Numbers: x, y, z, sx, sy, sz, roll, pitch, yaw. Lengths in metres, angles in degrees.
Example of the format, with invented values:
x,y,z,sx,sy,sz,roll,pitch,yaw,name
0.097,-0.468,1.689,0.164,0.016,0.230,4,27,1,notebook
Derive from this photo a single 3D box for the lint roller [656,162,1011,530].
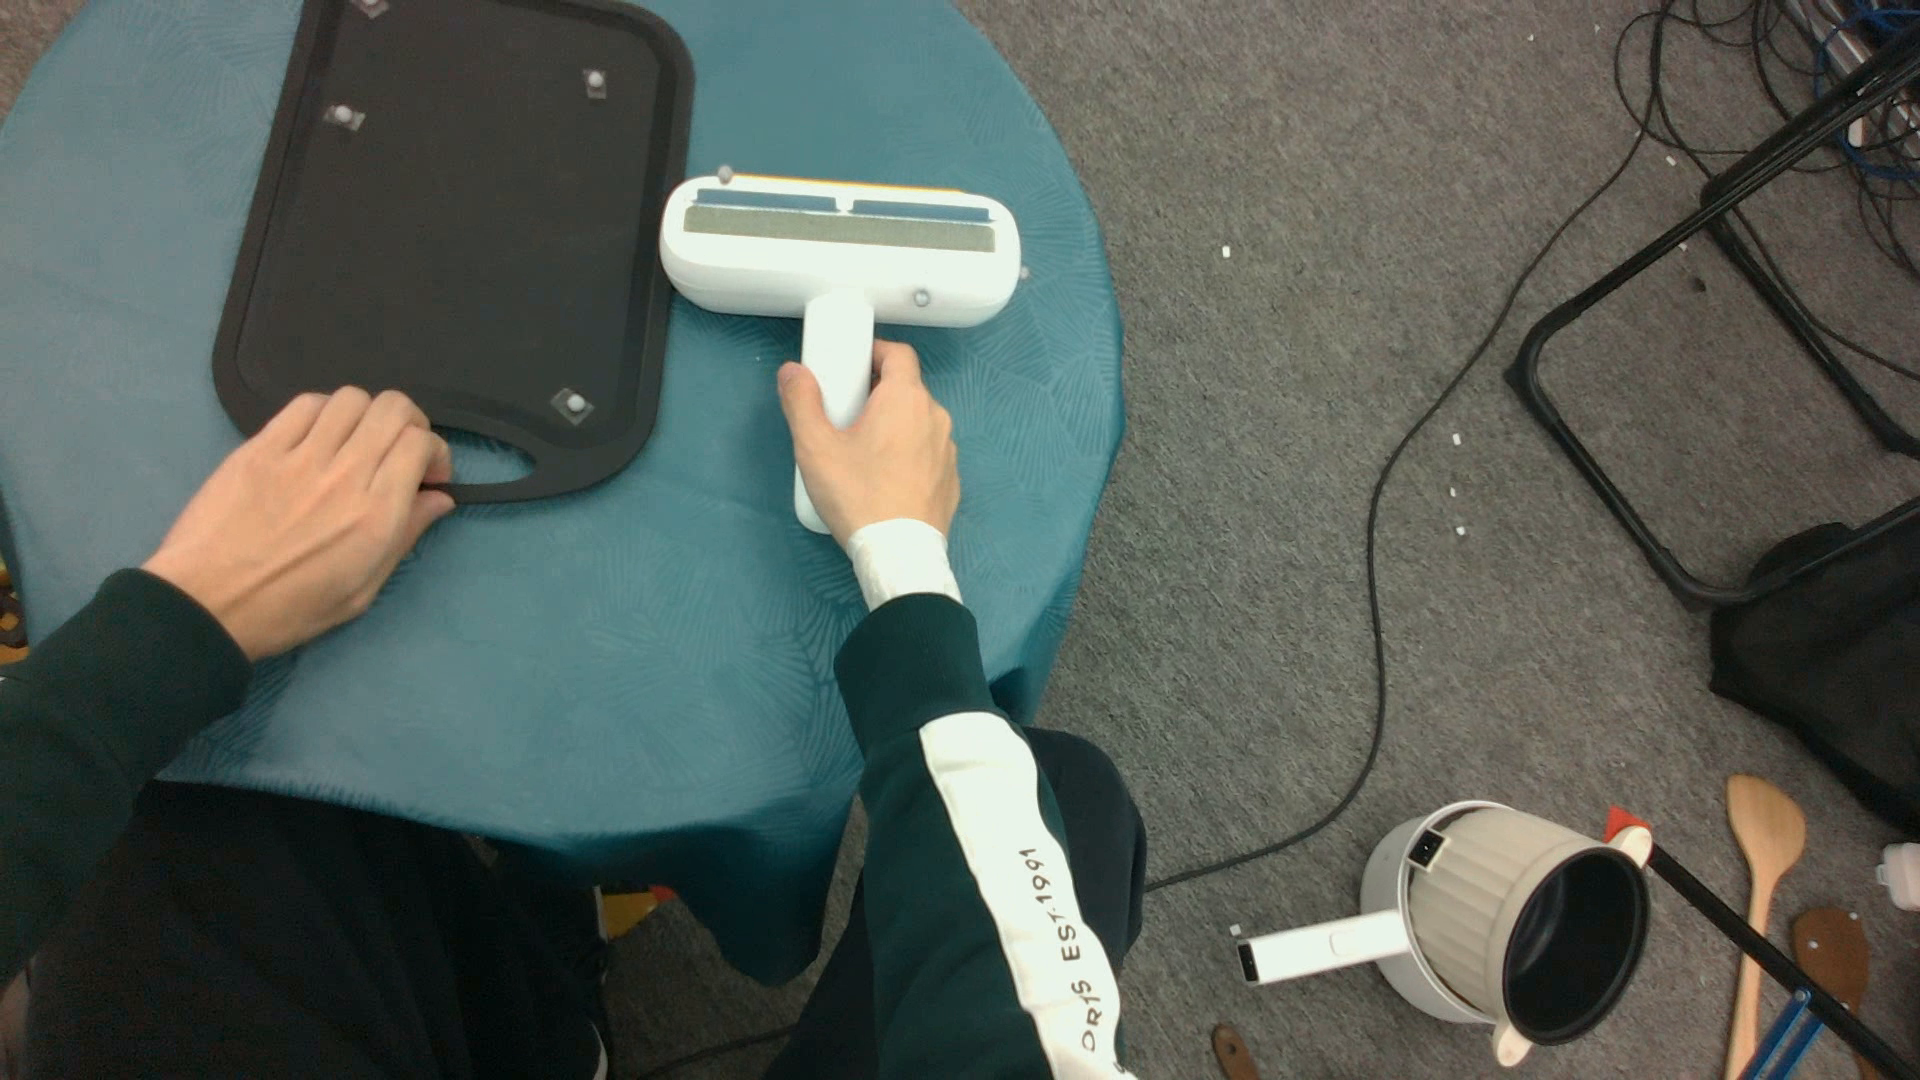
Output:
x,y,z,sx,sy,sz,roll,pitch,yaw,name
-0.077,-0.102,0.753,0.193,0.074,0.192,9,82,-5,lint roller

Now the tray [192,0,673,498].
x,y,z,sx,sy,sz,roll,pitch,yaw,name
-0.267,-0.173,0.727,0.211,0.010,0.326,7,67,-15,tray
